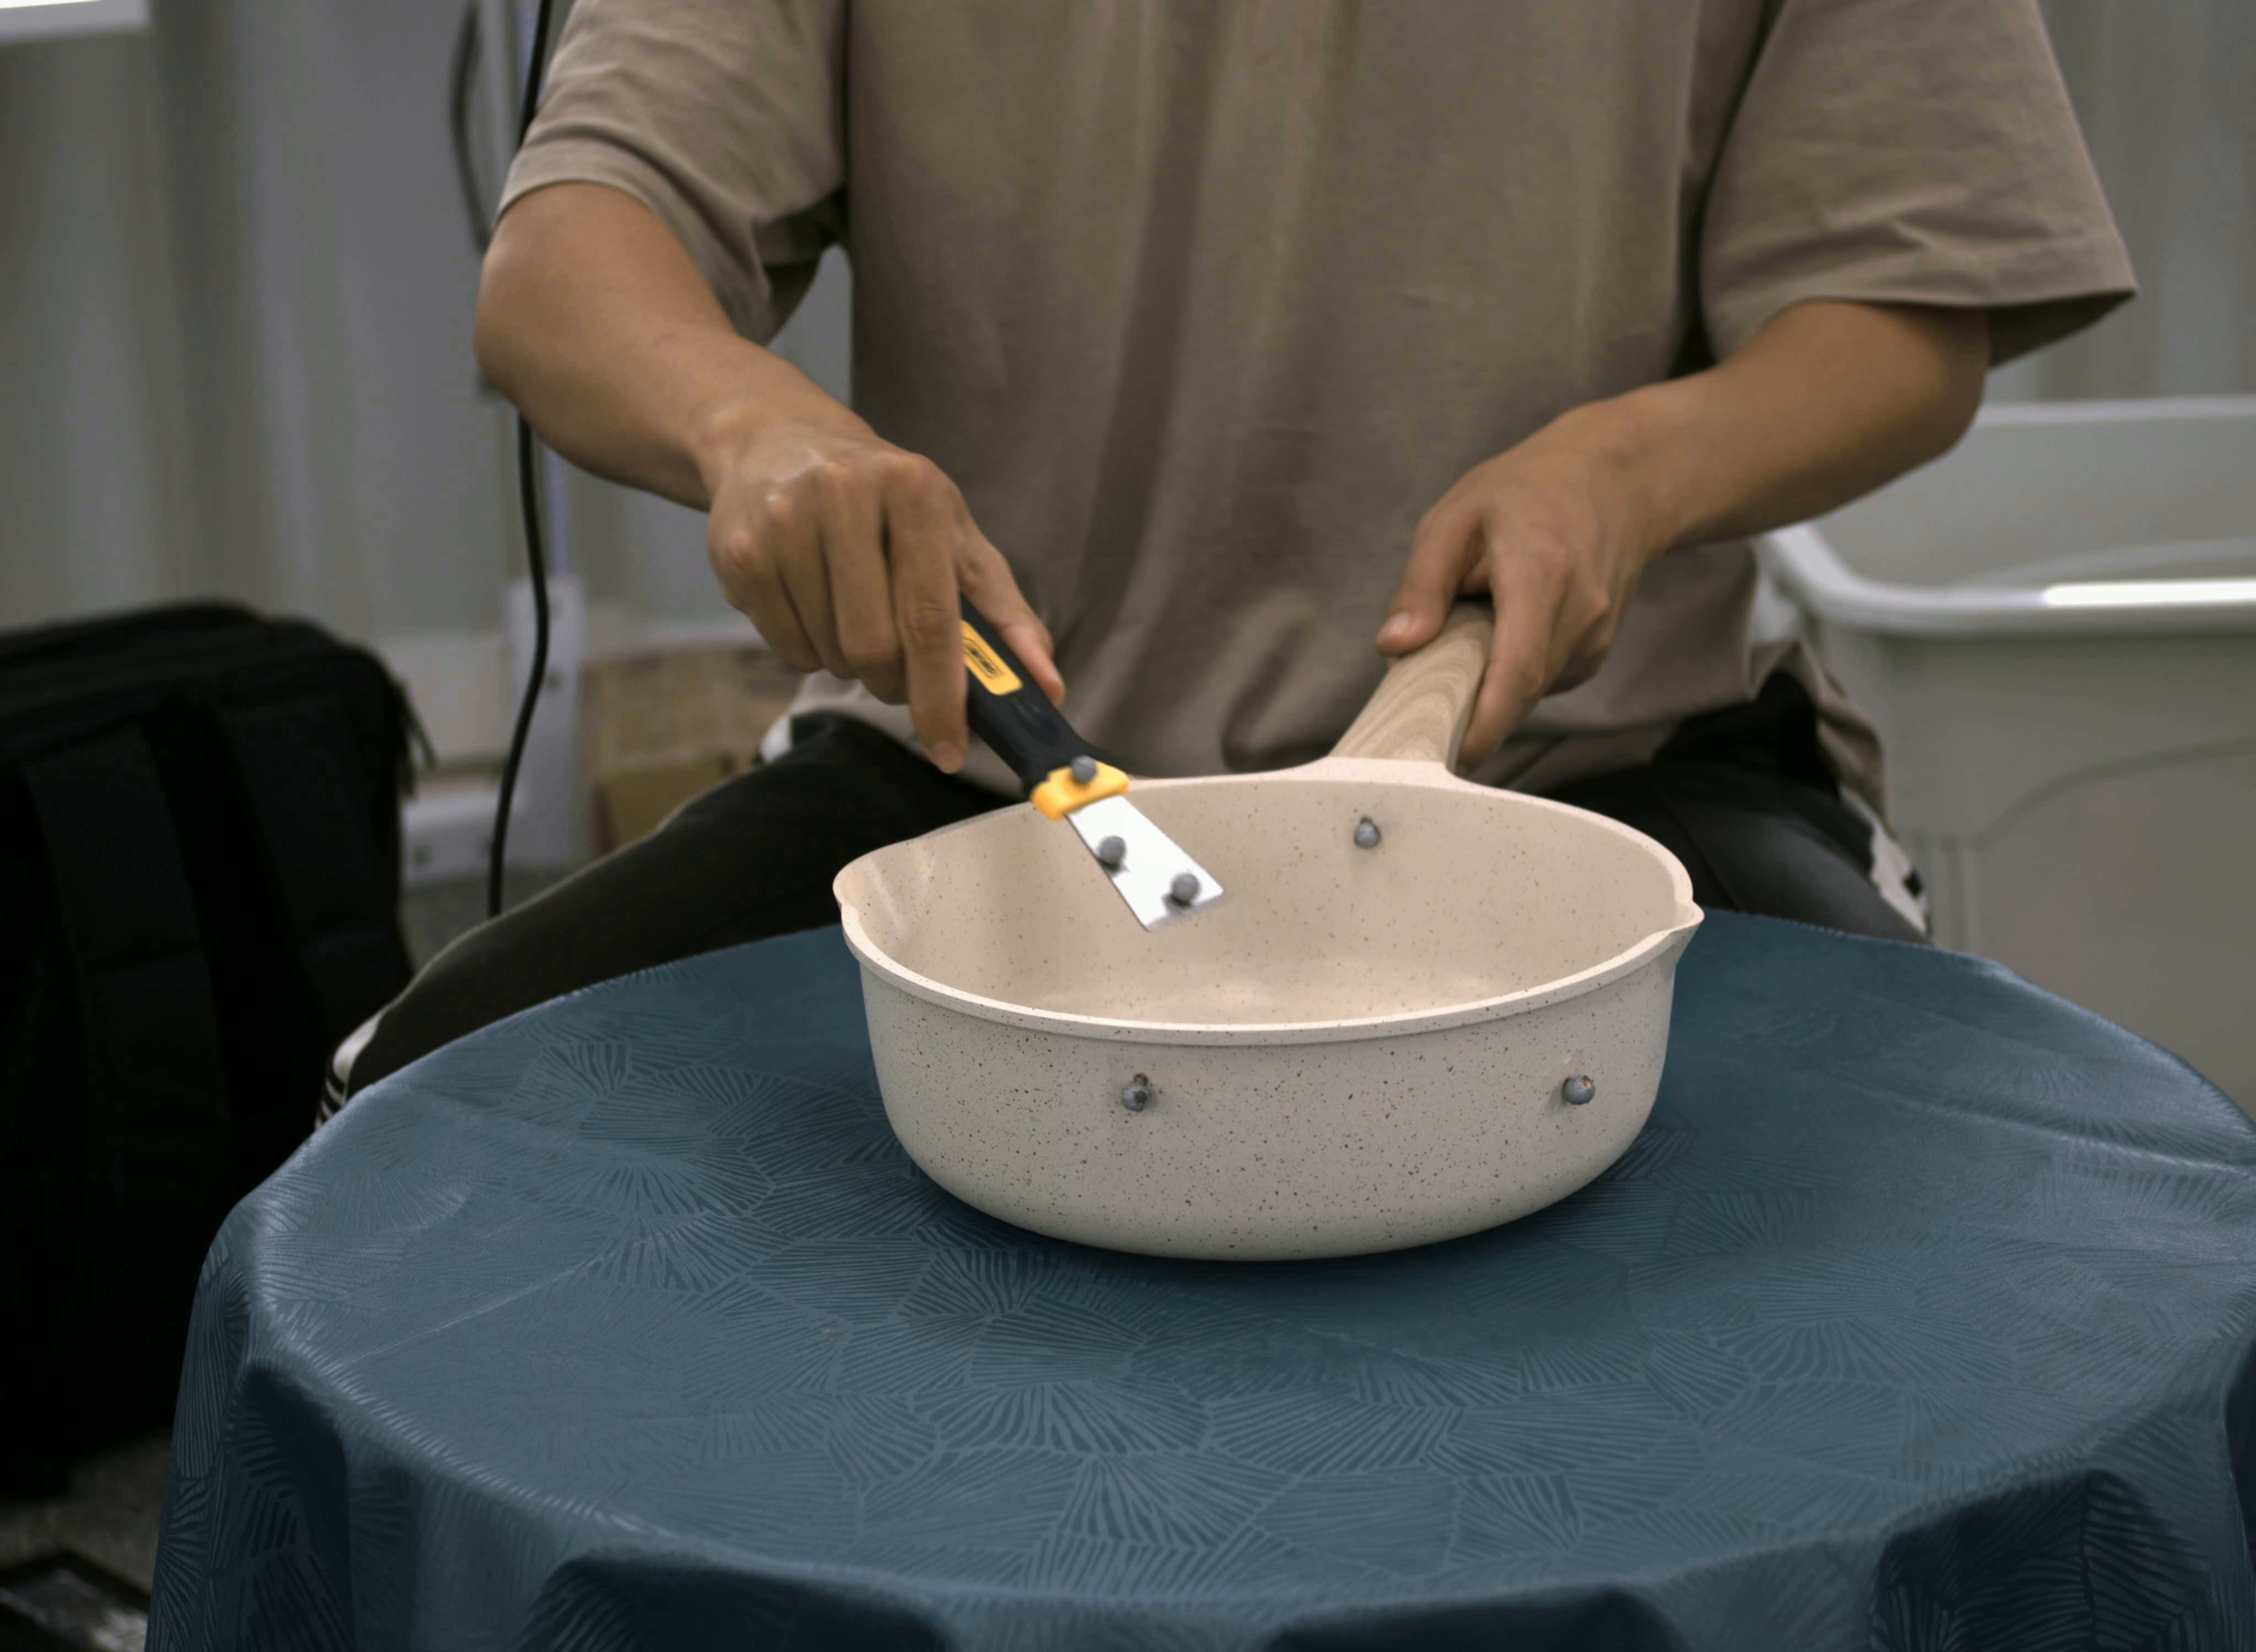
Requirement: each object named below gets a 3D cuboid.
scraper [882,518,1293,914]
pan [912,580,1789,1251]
[{"bbox_3d":[-0.017,-0.035,1.608,0.038,0.015,0.174,-26,58,-30],"label":"scraper"},{"bbox_3d":[0.091,0.024,1.652,0.266,0.102,0.431,0,16,17],"label":"pan"}]
